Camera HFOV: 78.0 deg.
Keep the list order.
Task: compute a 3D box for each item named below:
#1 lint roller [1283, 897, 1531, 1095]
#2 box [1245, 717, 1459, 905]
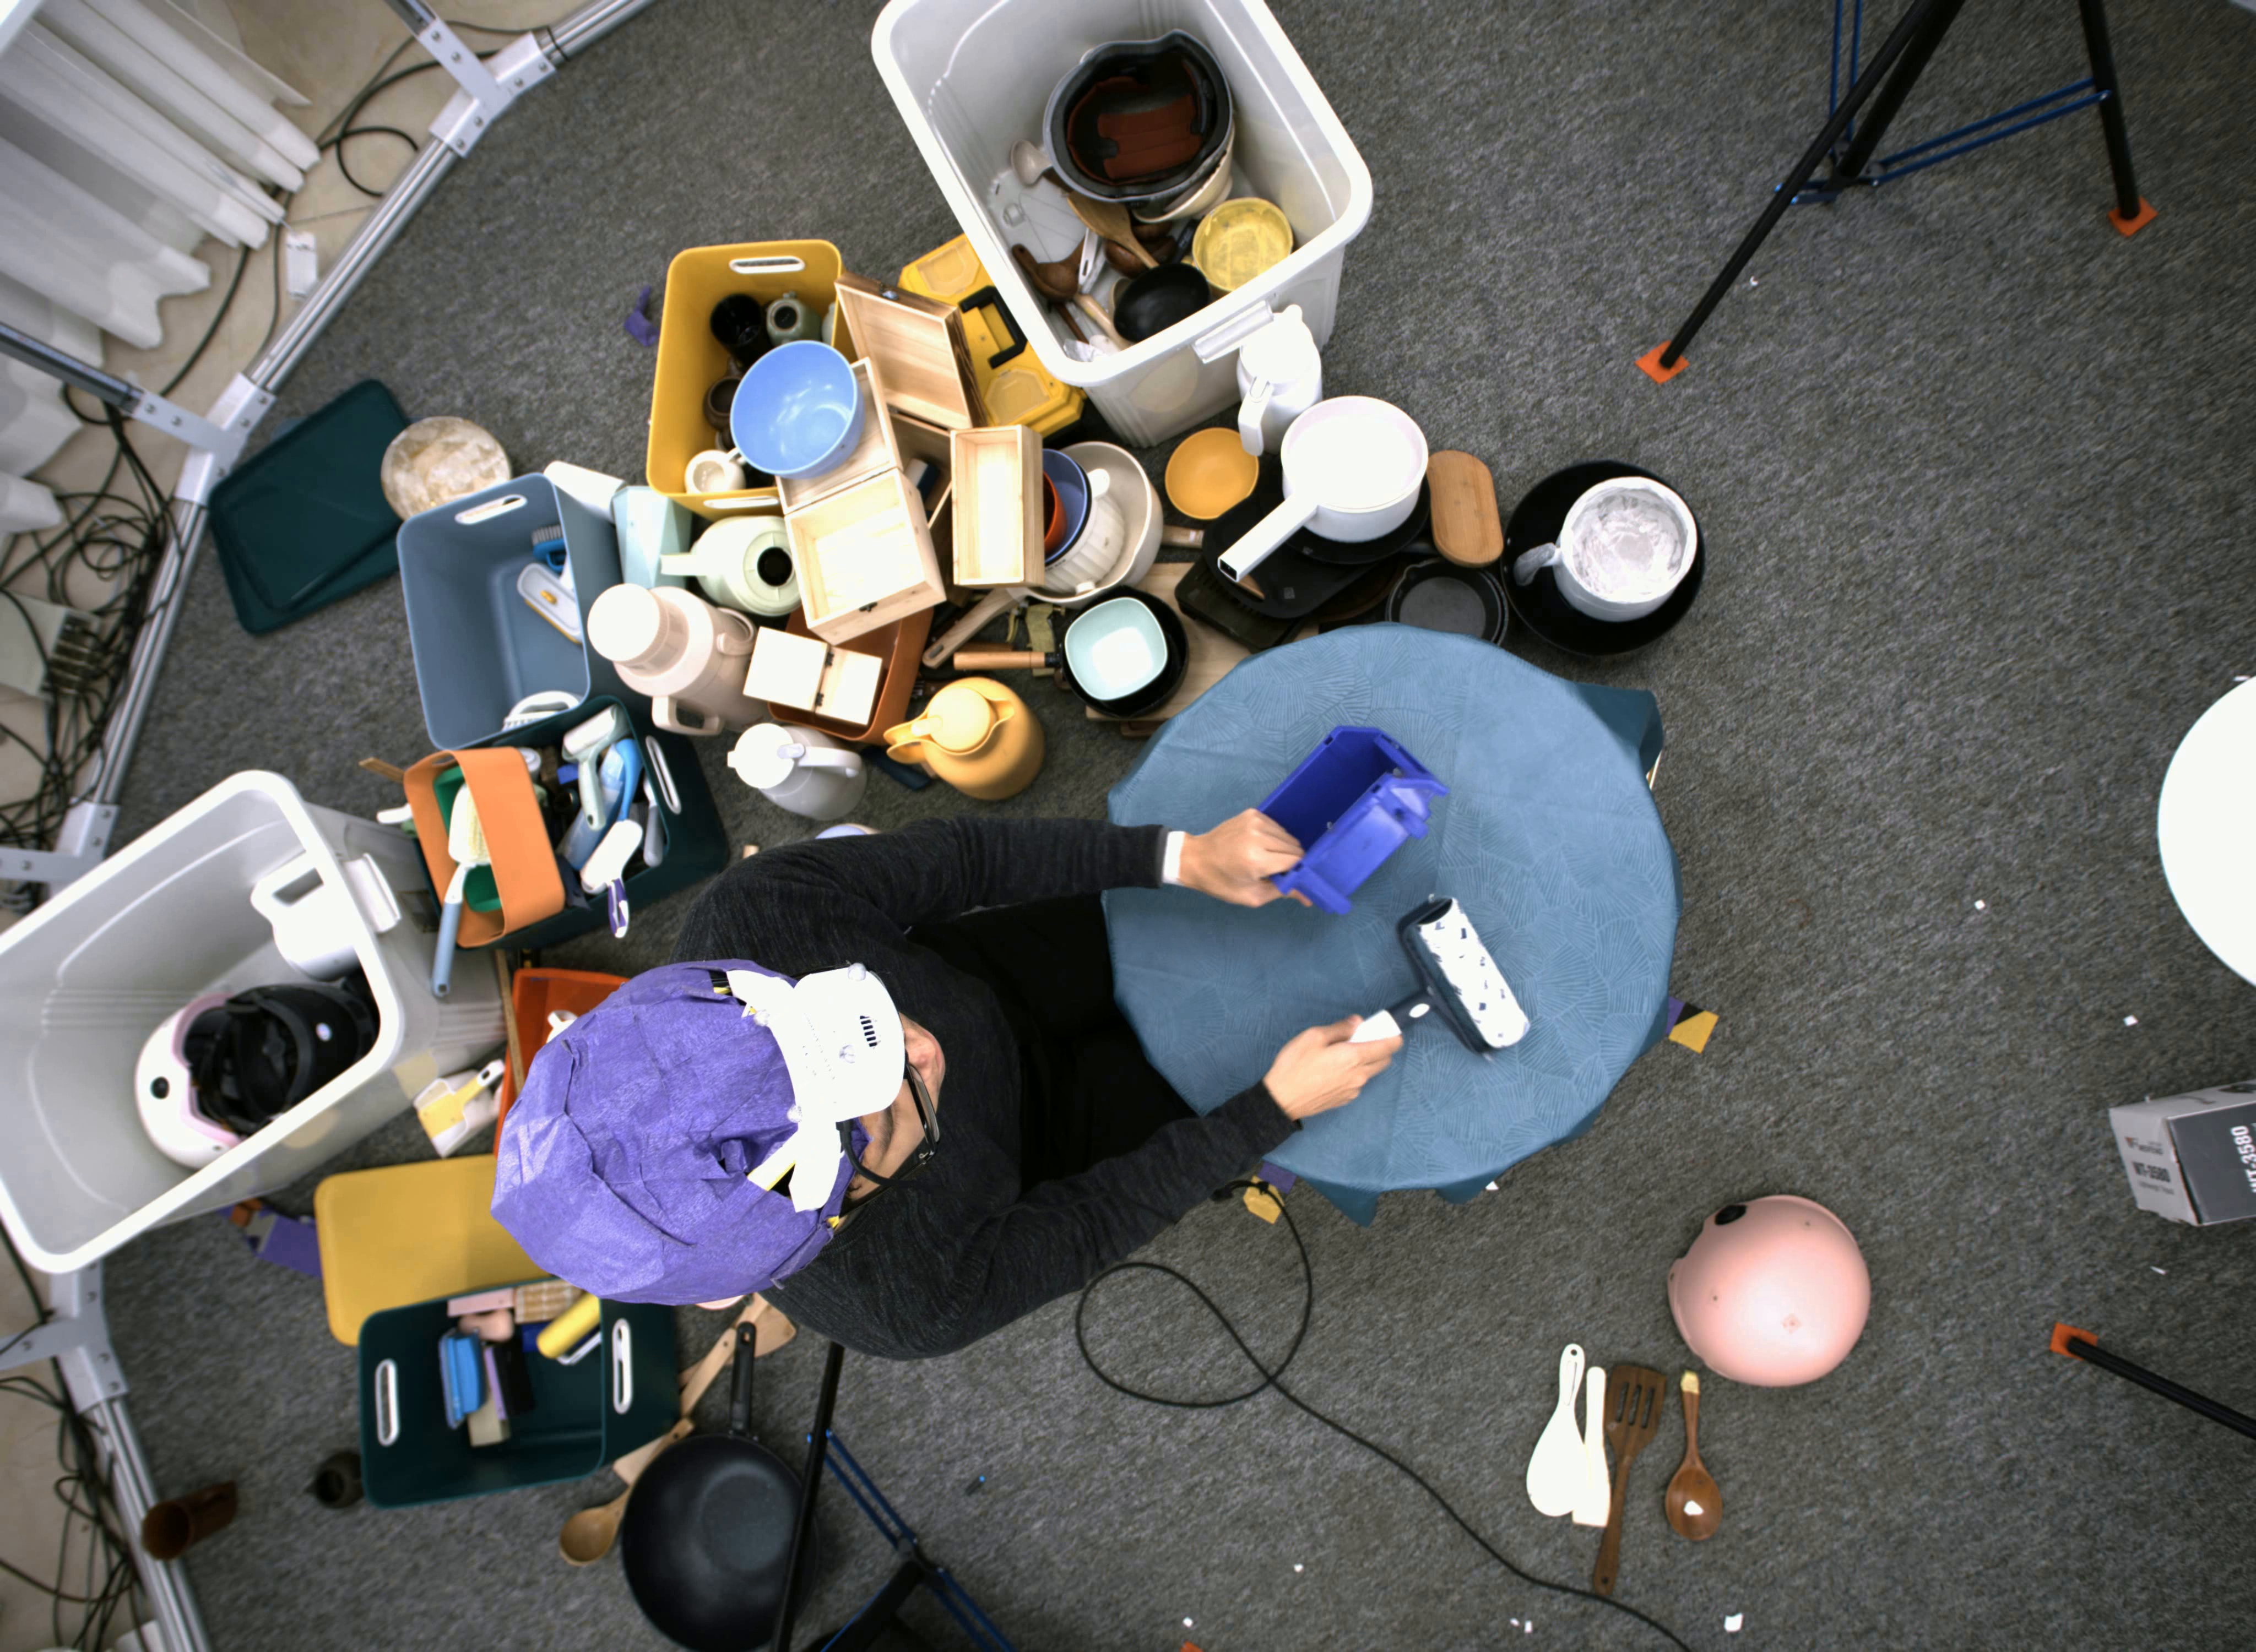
[{"bbox_3d":[0.267,0.204,1.396,0.248,0.050,0.178,-33,105,4],"label":"lint roller"},{"bbox_3d":[0.222,-0.021,1.363,0.181,0.082,0.122,-48,35,13],"label":"box"}]
